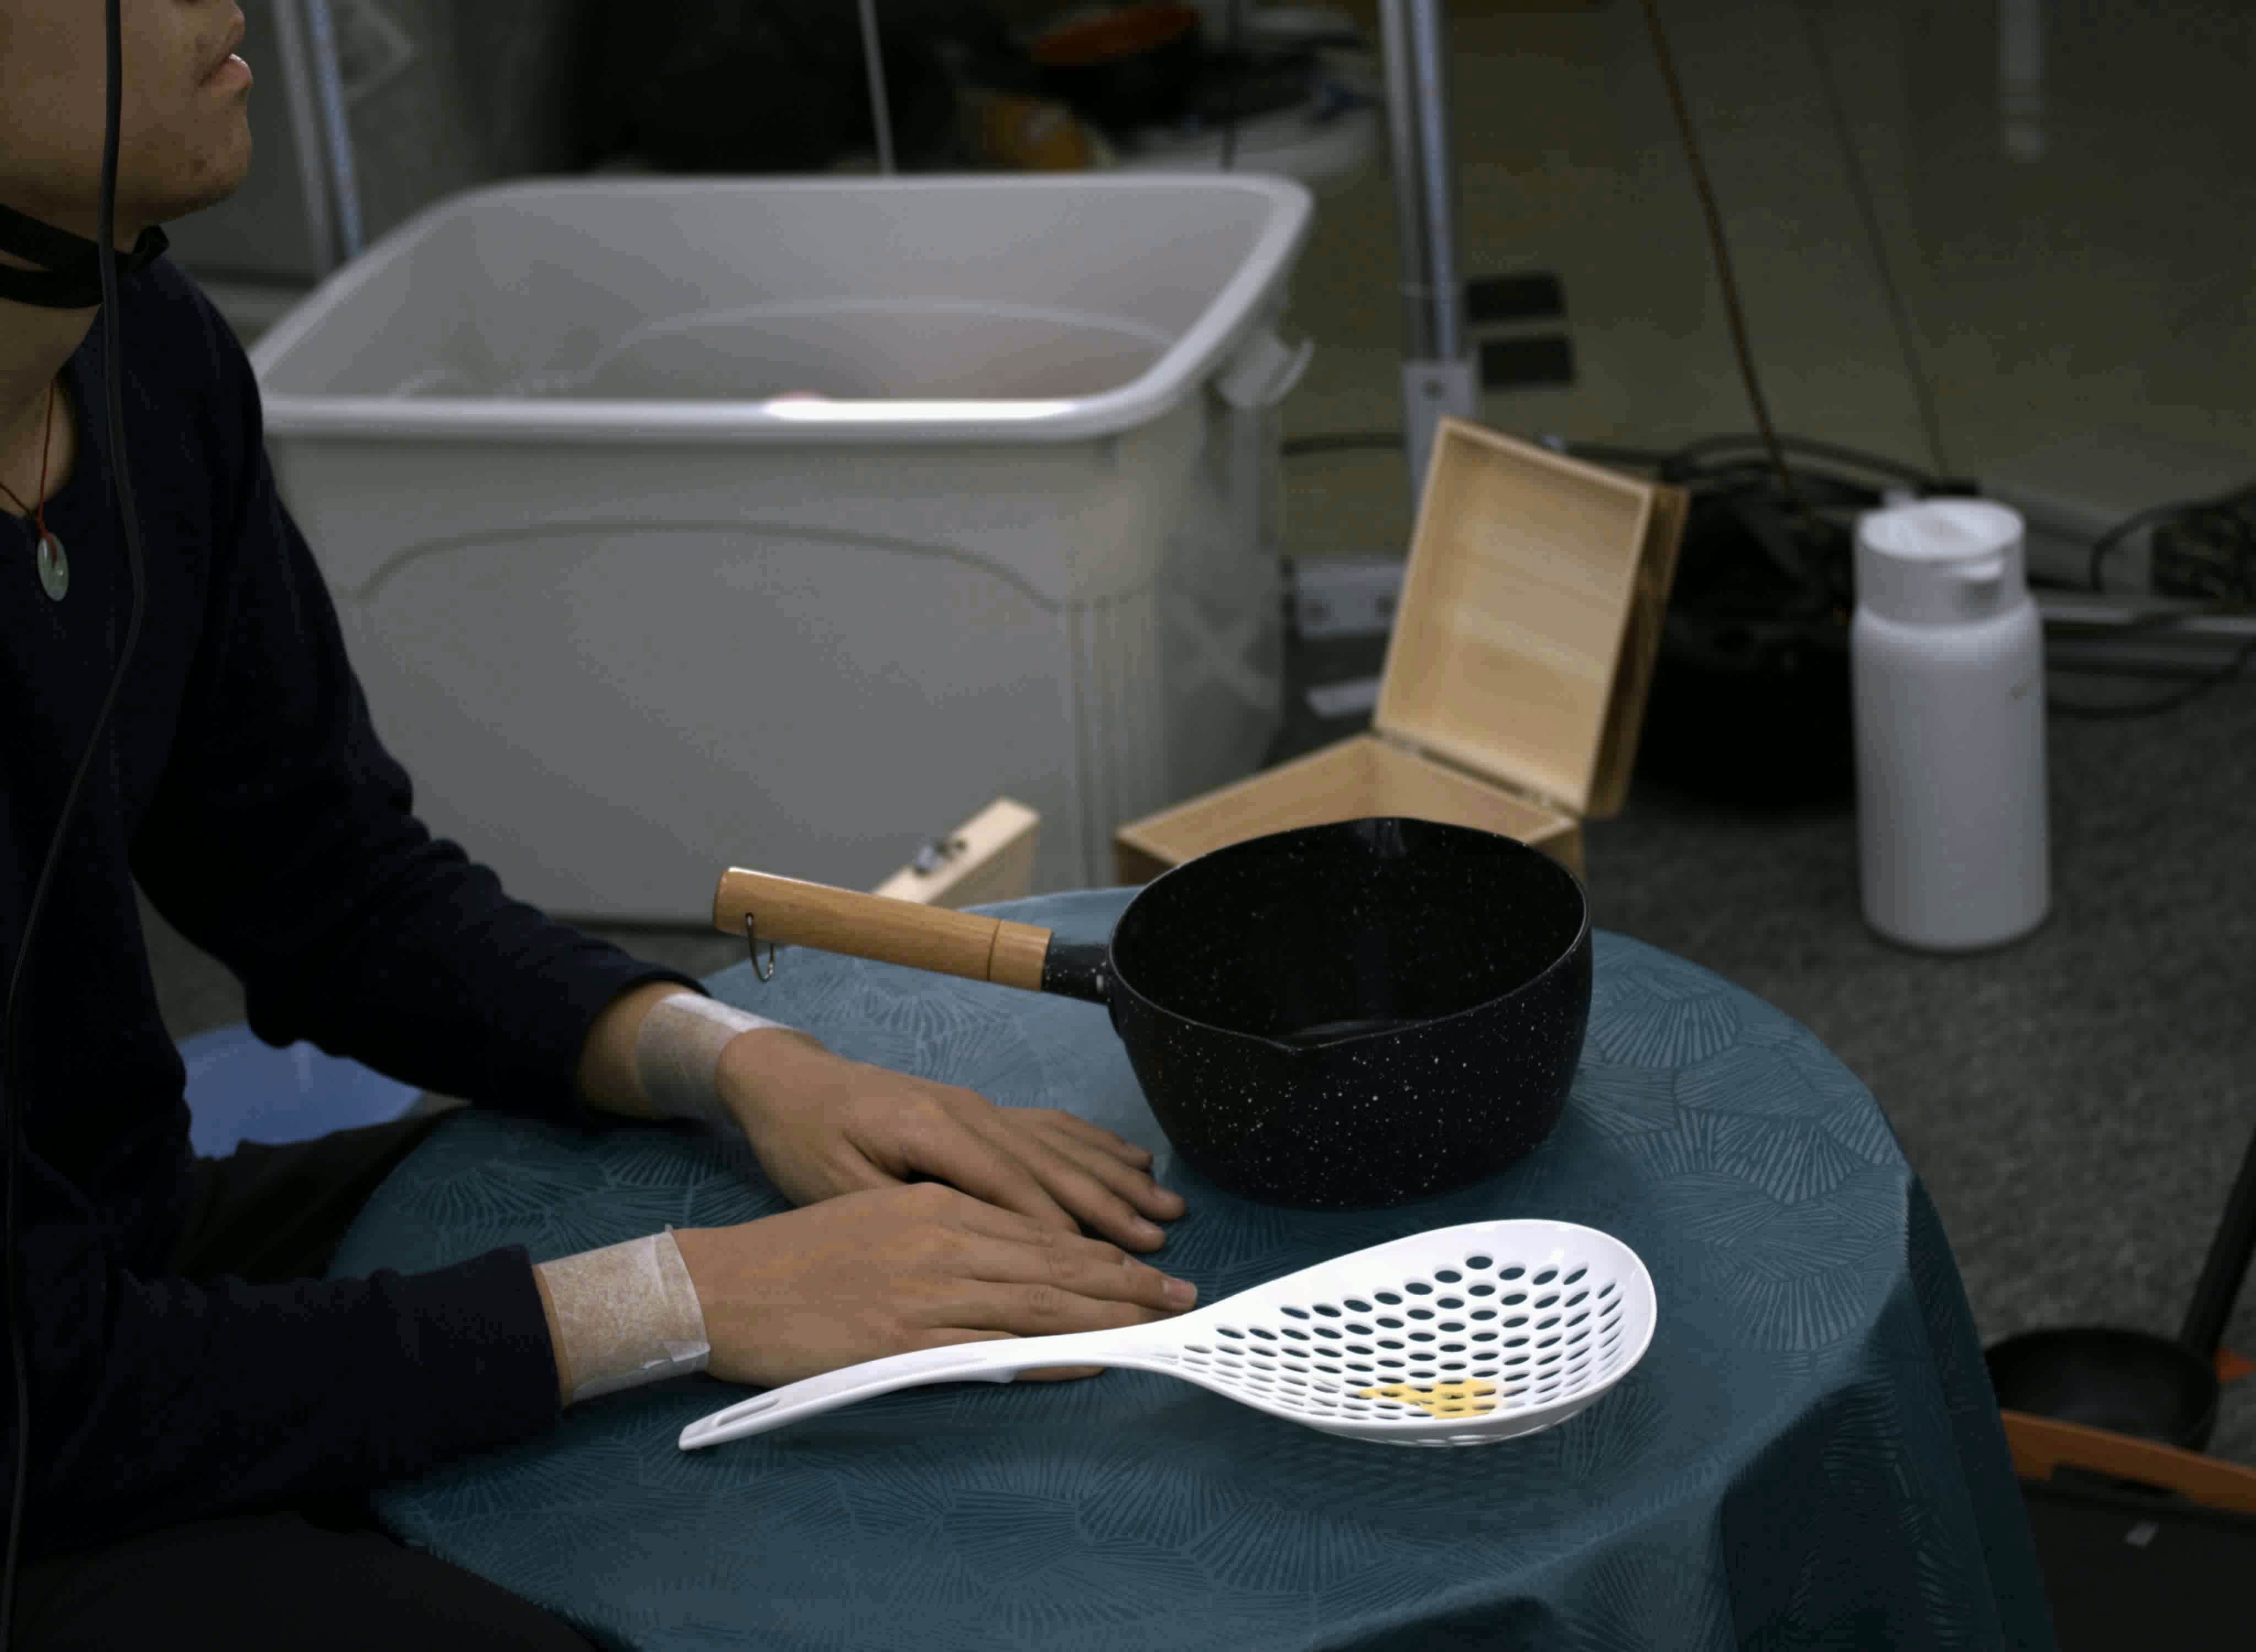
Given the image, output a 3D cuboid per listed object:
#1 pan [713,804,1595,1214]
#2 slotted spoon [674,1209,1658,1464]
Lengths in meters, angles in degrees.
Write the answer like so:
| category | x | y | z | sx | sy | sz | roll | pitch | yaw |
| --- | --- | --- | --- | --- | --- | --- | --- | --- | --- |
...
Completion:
| category | x | y | z | sx | sy | sz | roll | pitch | yaw |
| --- | --- | --- | --- | --- | --- | --- | --- | --- | --- |
| pan | 0.009 | 0.066 | 2.173 | 0.342 | 0.110 | 0.204 | 0 | 27 | 11 |
| slotted spoon | 0.011 | 0.191 | 1.981 | 0.347 | 0.051 | 0.135 | -2 | 27 | 5 |
